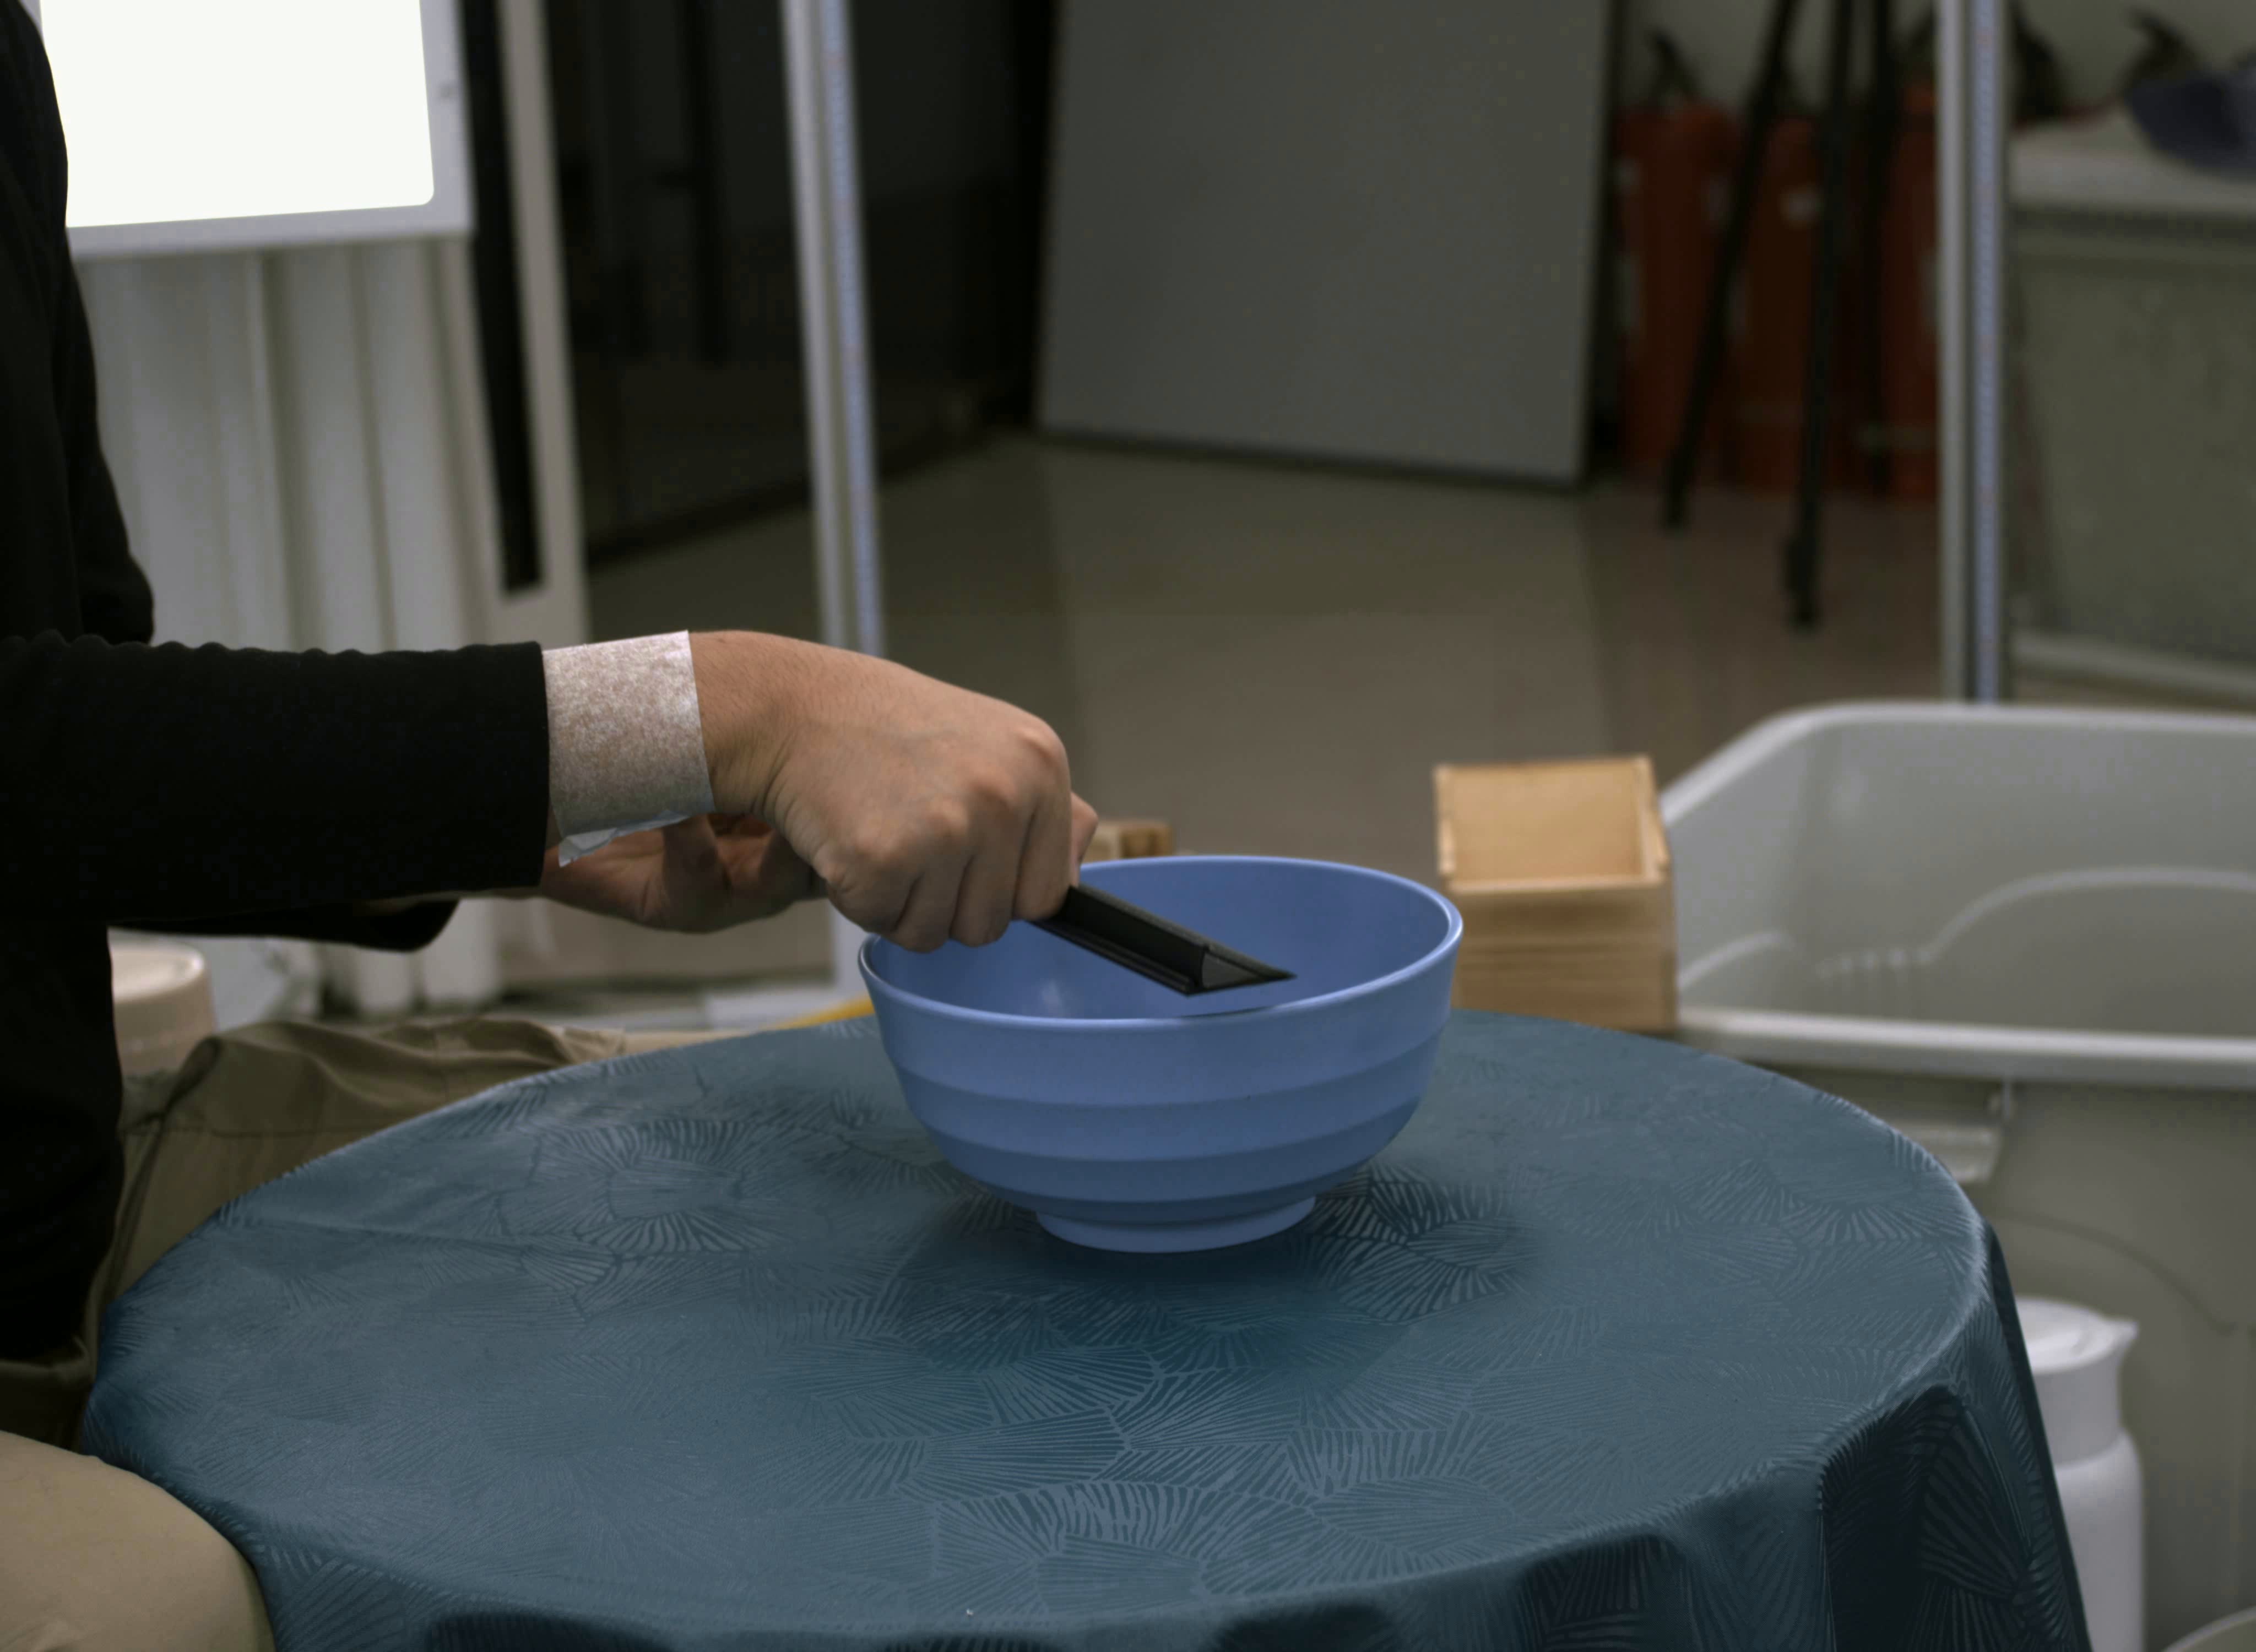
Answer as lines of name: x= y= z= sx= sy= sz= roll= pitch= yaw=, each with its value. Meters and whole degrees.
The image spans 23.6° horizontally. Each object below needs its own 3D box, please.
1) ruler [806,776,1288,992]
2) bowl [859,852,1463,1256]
ruler: x=-0.031 y=0.015 z=1.761 sx=0.038 sy=0.017 sz=0.315 roll=-4 pitch=11 yaw=-24
bowl: x=0.013 y=0.079 z=1.737 sx=0.194 sy=0.096 sz=0.197 roll=-3 pitch=14 yaw=0
